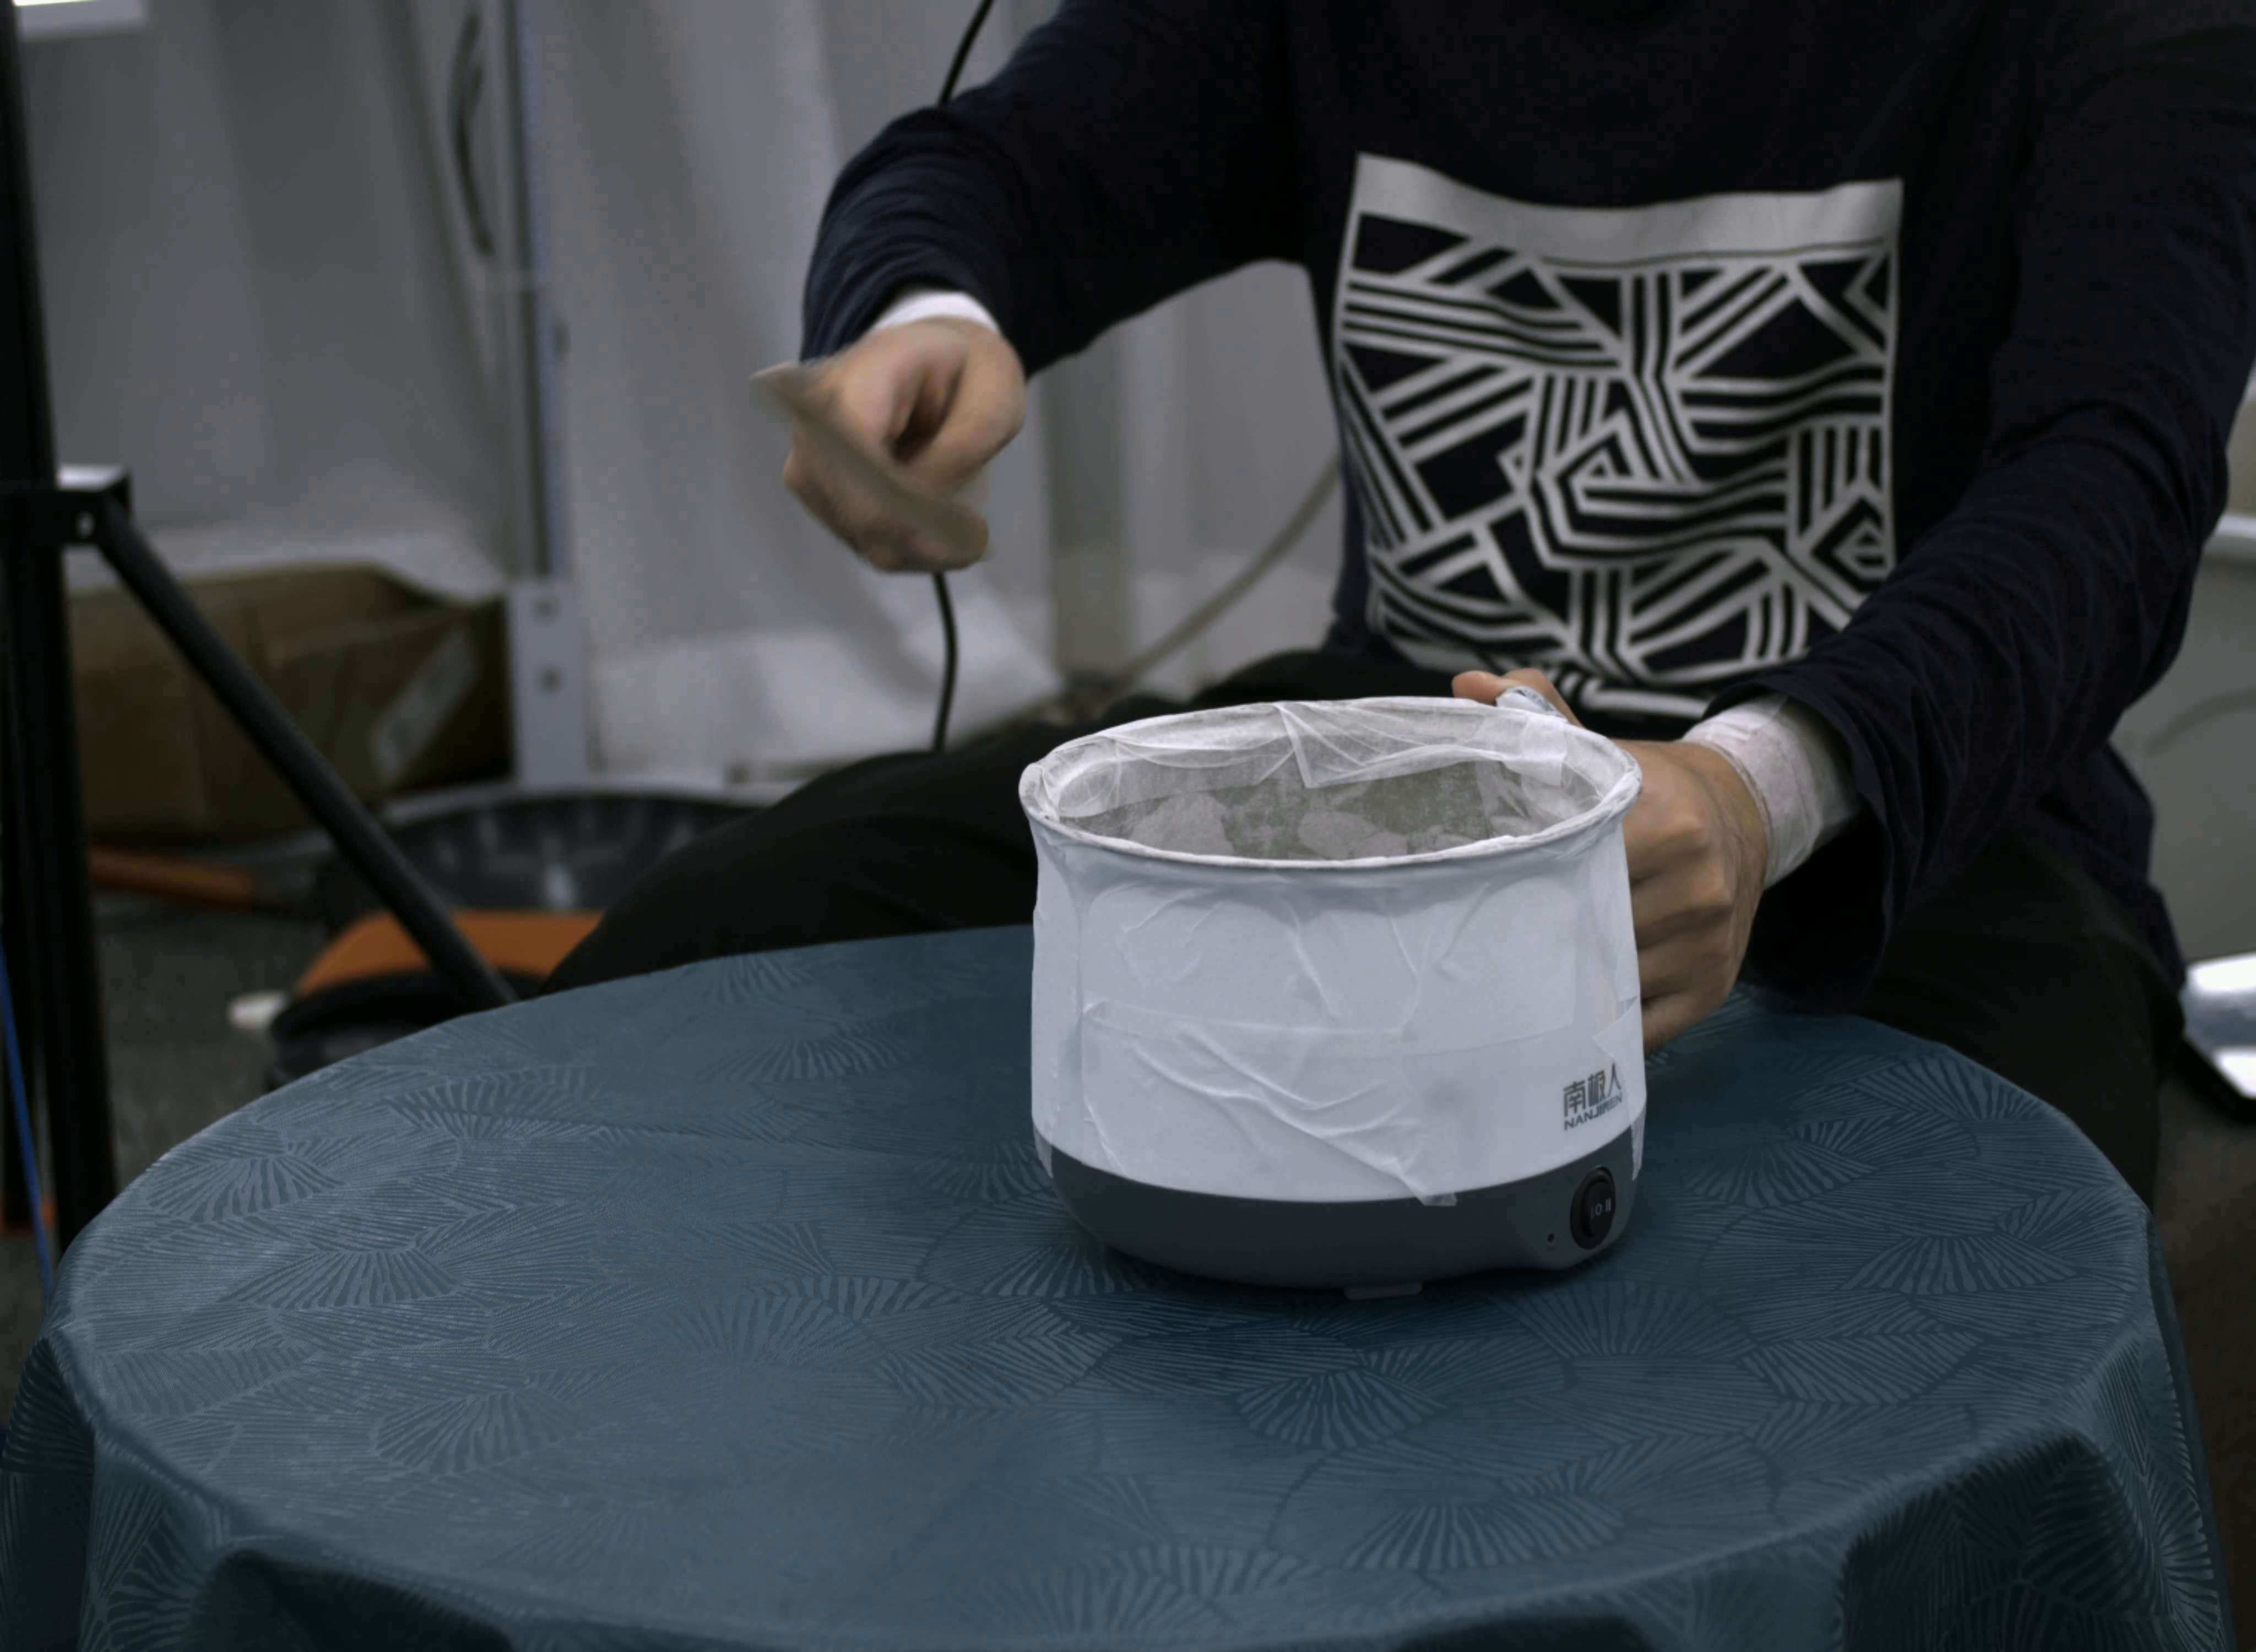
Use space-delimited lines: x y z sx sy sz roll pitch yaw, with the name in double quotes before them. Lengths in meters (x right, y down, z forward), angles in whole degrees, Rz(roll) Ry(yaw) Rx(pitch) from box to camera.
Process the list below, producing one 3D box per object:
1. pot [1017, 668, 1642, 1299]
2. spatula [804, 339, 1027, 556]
"pot" 0.074 0.038 1.536 0.182 0.136 0.229 10 21 35
"spatula" -0.060 -0.104 1.585 0.080 0.016 0.327 42 1 -1
